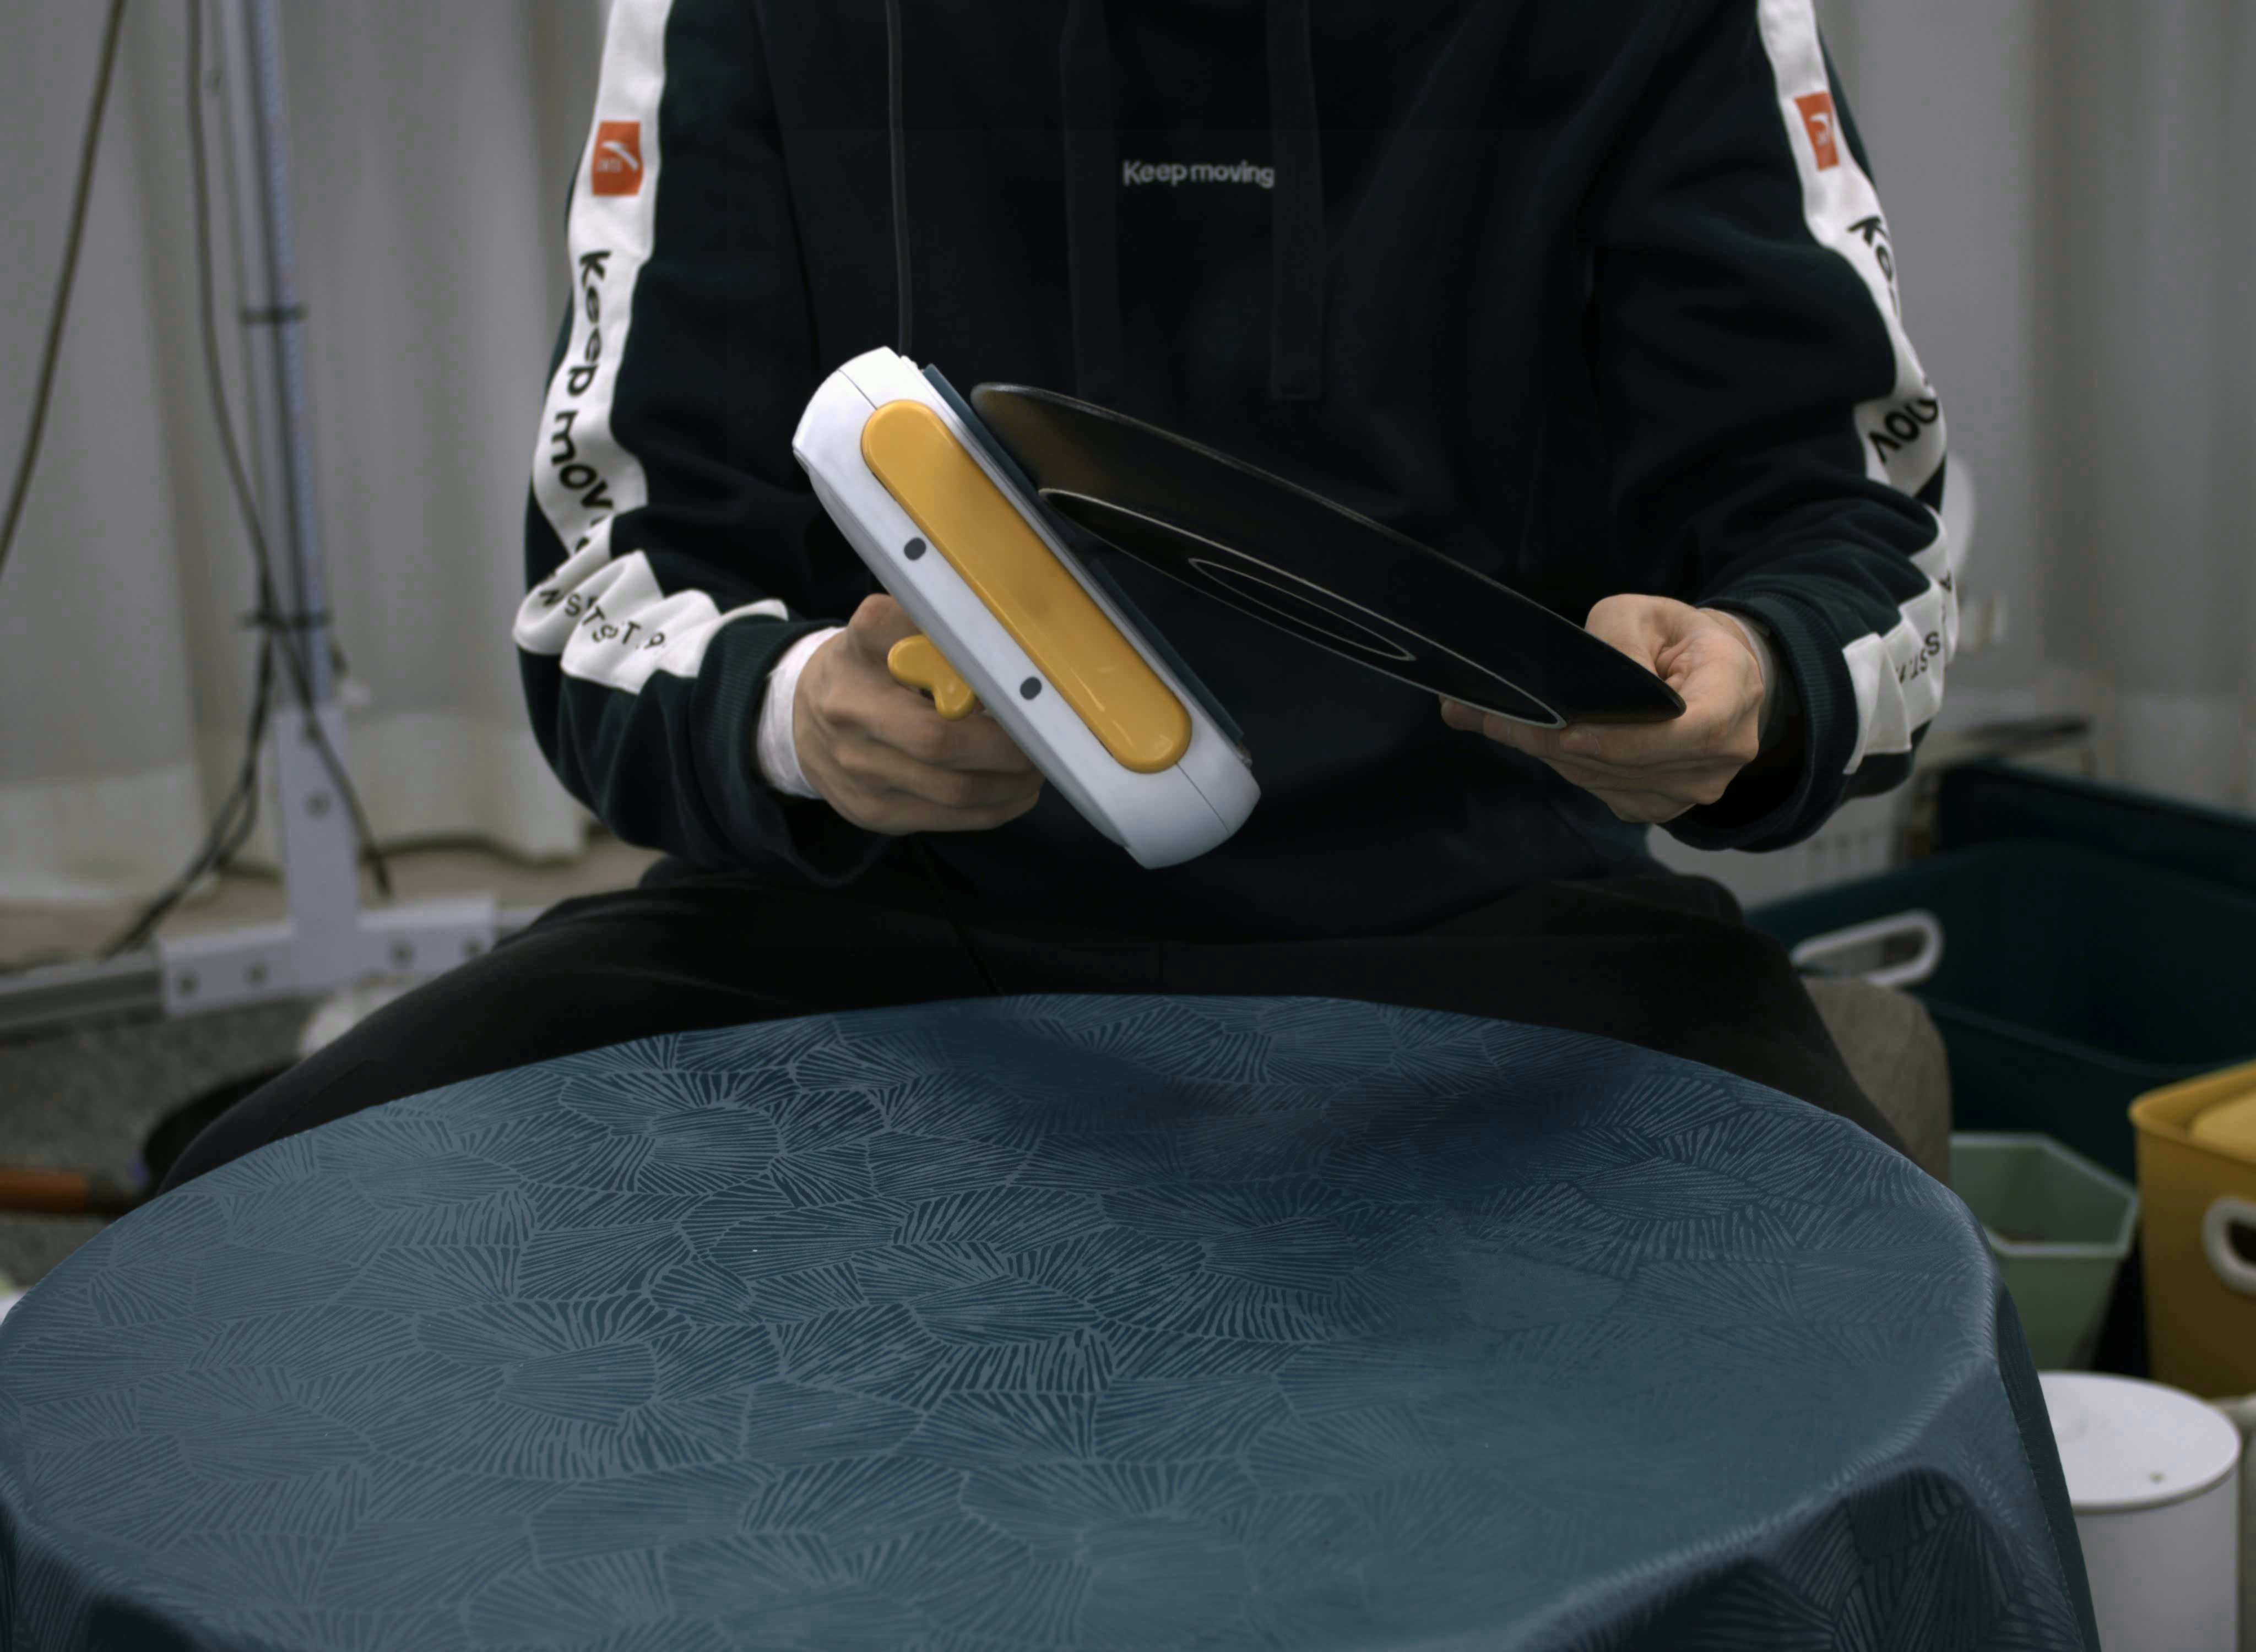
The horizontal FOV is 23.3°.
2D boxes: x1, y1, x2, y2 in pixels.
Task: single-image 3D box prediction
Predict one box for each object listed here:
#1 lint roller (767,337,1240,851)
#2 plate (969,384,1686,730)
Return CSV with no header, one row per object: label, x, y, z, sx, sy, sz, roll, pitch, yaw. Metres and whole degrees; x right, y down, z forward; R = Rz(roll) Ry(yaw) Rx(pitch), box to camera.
lint roller,-0.046,-0.052,1.781,0.074,0.194,0.191,-42,-12,-13
plate,0.058,-0.077,1.704,0.244,0.023,0.244,24,-3,1
